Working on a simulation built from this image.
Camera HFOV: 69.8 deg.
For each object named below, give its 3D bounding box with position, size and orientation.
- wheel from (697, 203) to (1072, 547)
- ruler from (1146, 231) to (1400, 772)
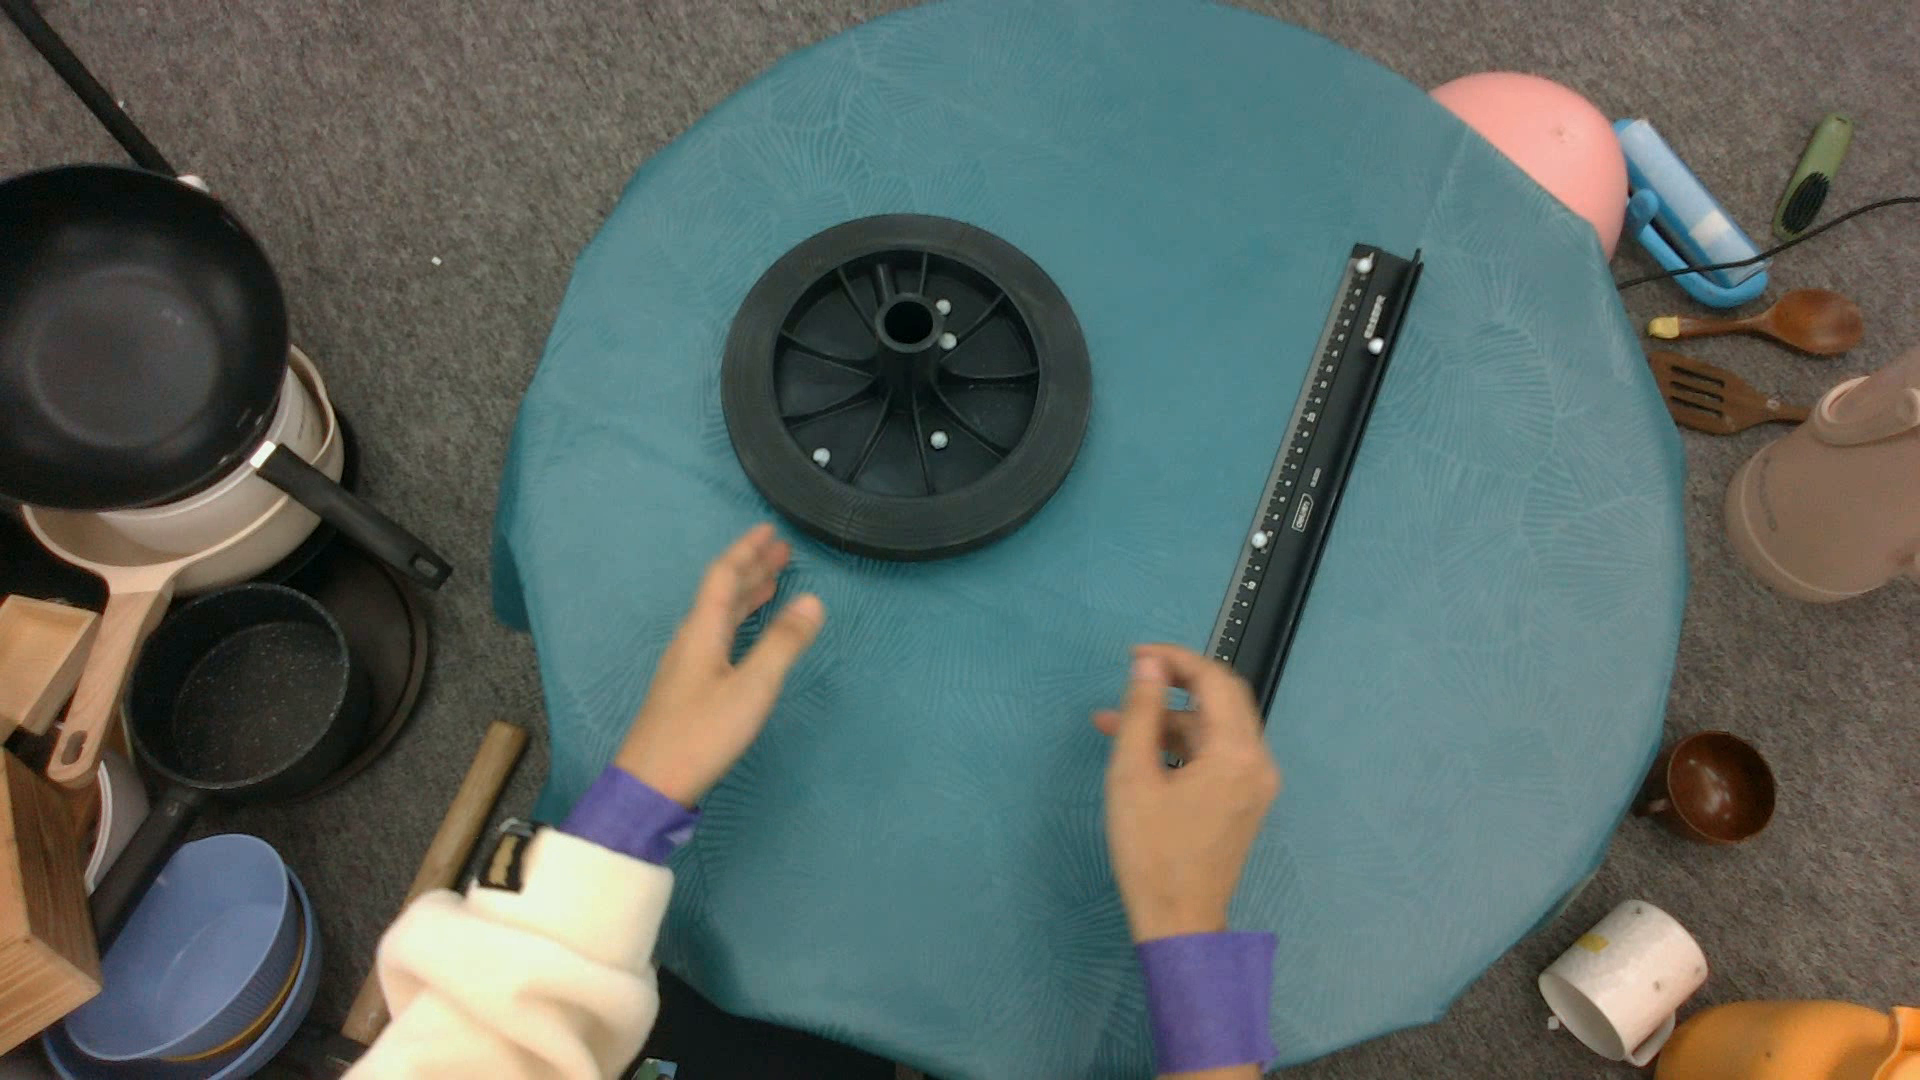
[{"bbox_3d":[-0.037,-0.094,0.679,0.188,0.079,0.190,-33,75,-14],"label":"wheel"},{"bbox_3d":[0.165,-0.033,0.703,0.039,0.017,0.313,22,71,8],"label":"ruler"}]
